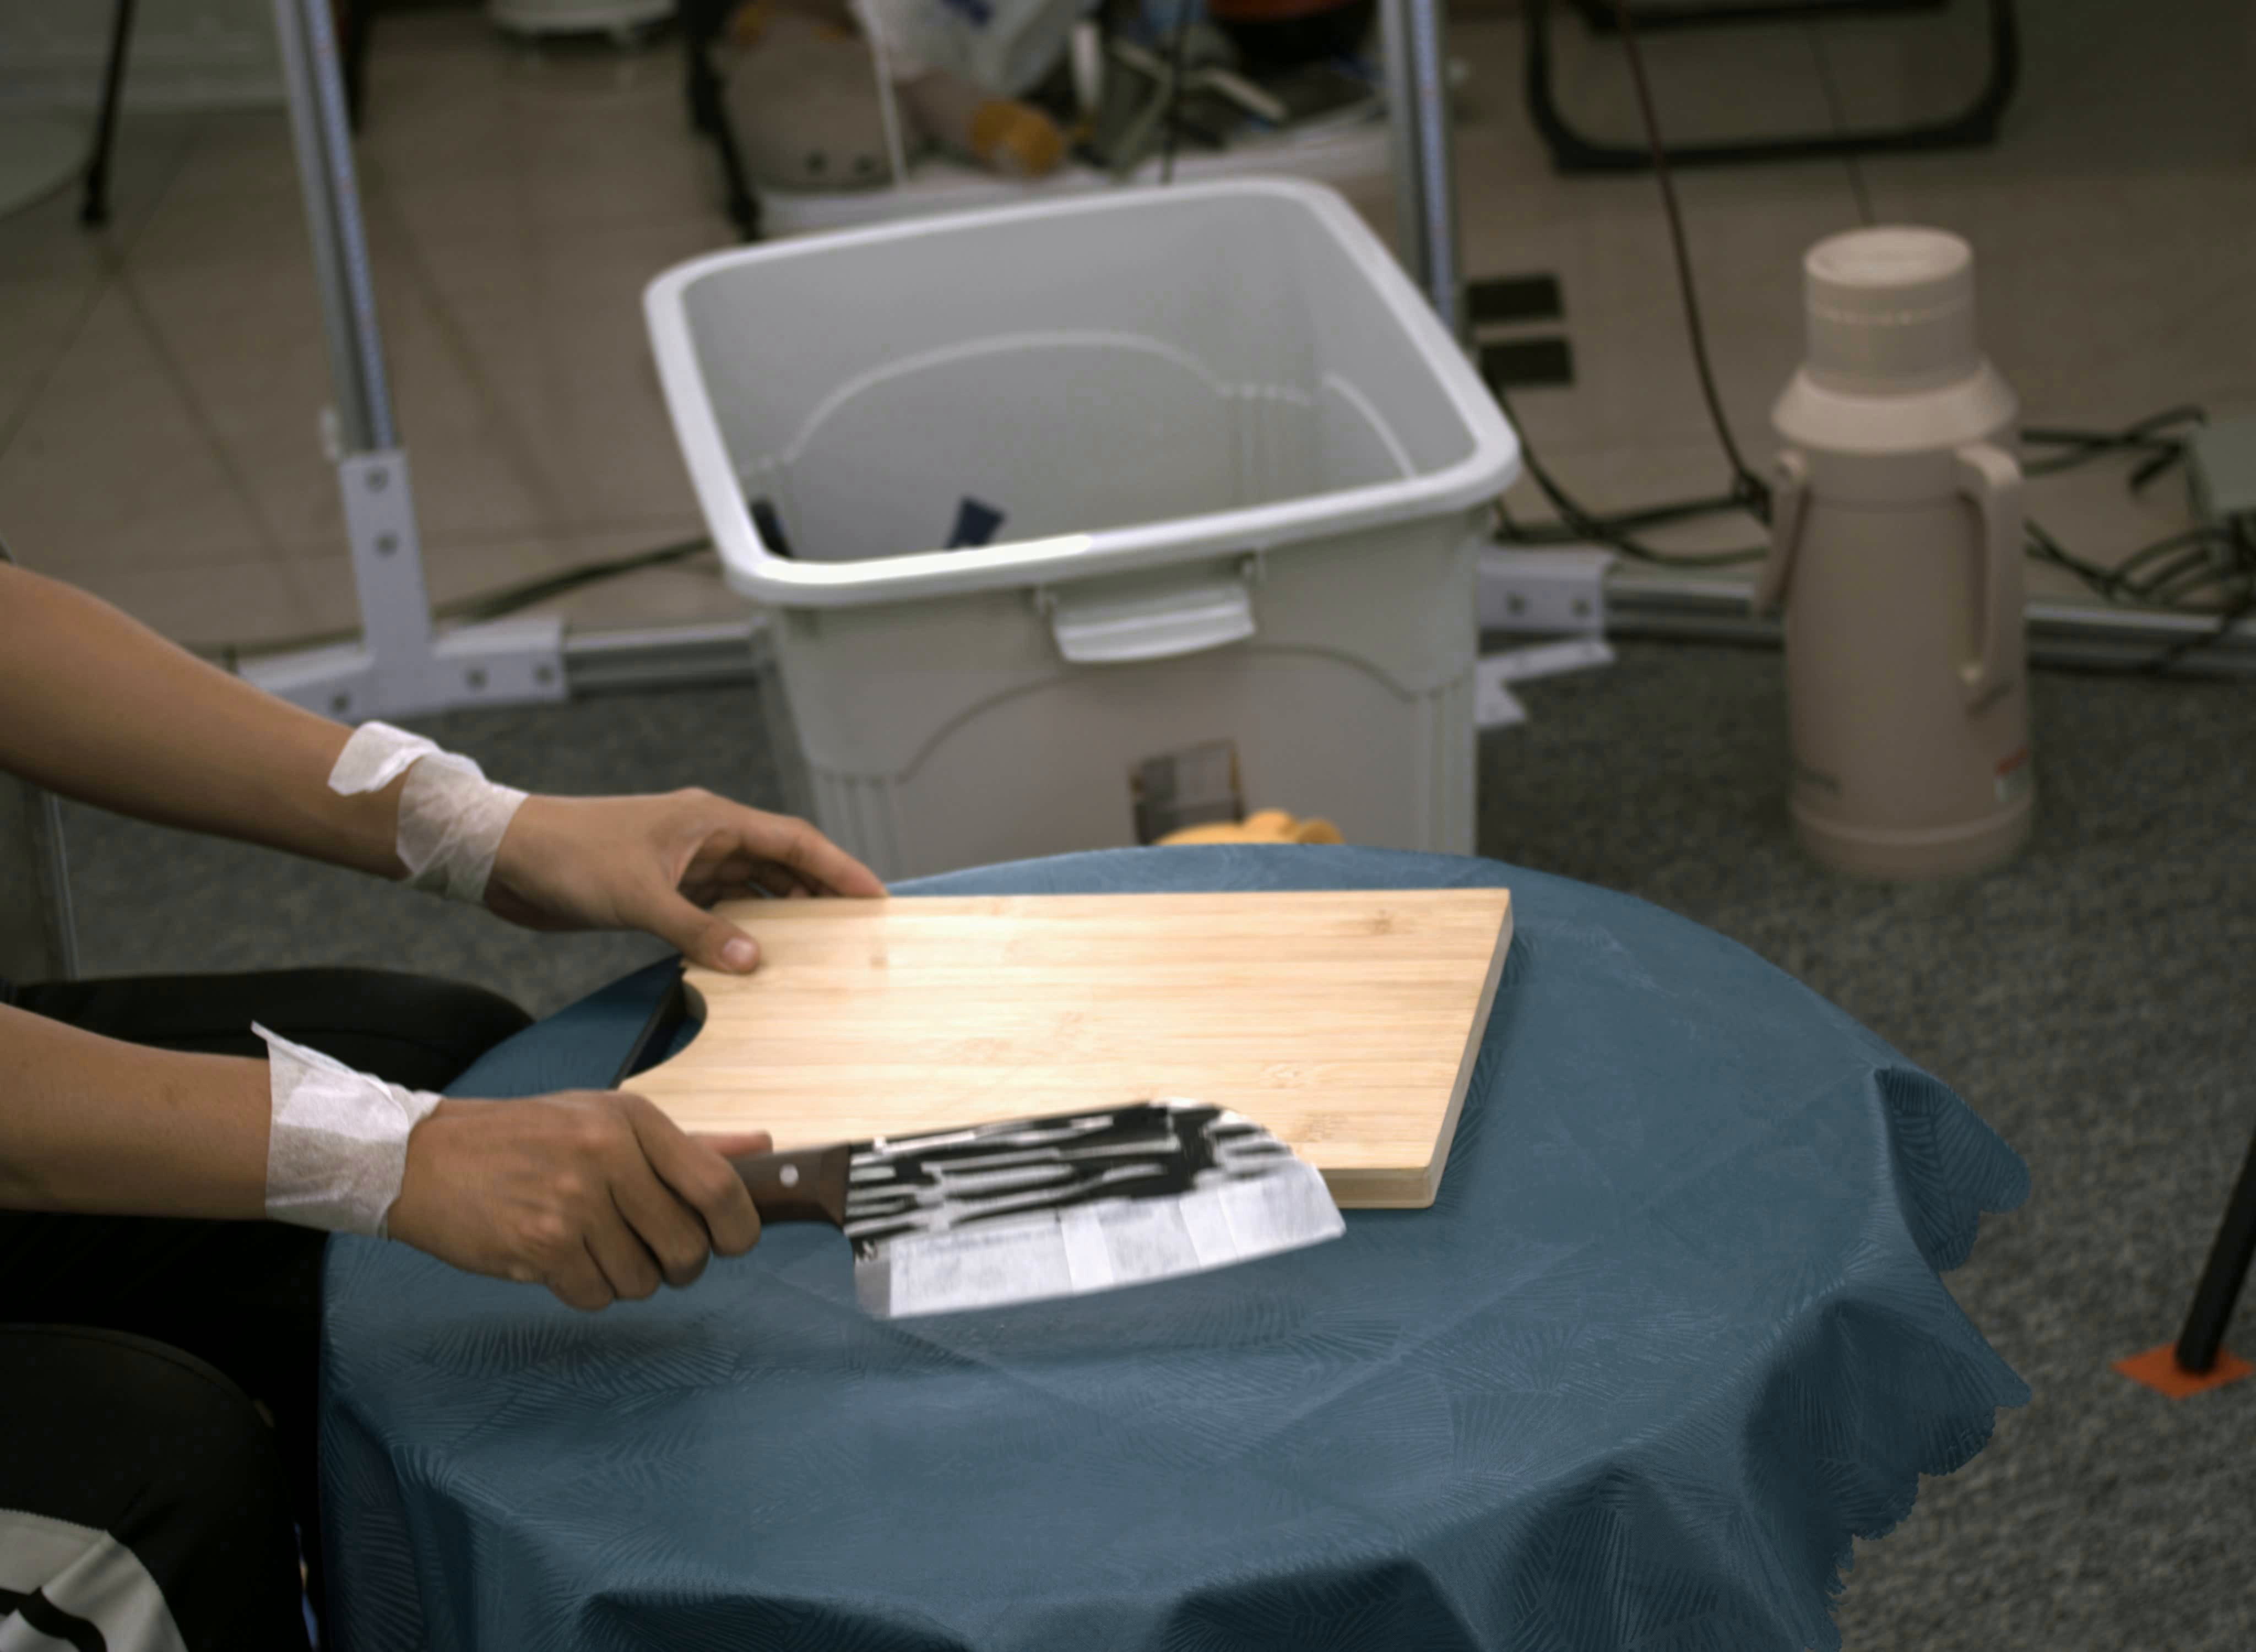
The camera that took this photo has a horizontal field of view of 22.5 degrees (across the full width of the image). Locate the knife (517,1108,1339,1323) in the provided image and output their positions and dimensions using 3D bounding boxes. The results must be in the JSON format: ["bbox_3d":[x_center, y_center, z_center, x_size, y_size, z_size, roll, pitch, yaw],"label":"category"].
[{"bbox_3d":[-0.074,0.144,2.052,0.299,0.067,0.024,-7,-18,6],"label":"knife"}]

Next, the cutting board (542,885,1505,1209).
[{"bbox_3d":[-0.036,0.087,2.253,0.348,0.024,0.247,-1,25,12],"label":"cutting board"}]
